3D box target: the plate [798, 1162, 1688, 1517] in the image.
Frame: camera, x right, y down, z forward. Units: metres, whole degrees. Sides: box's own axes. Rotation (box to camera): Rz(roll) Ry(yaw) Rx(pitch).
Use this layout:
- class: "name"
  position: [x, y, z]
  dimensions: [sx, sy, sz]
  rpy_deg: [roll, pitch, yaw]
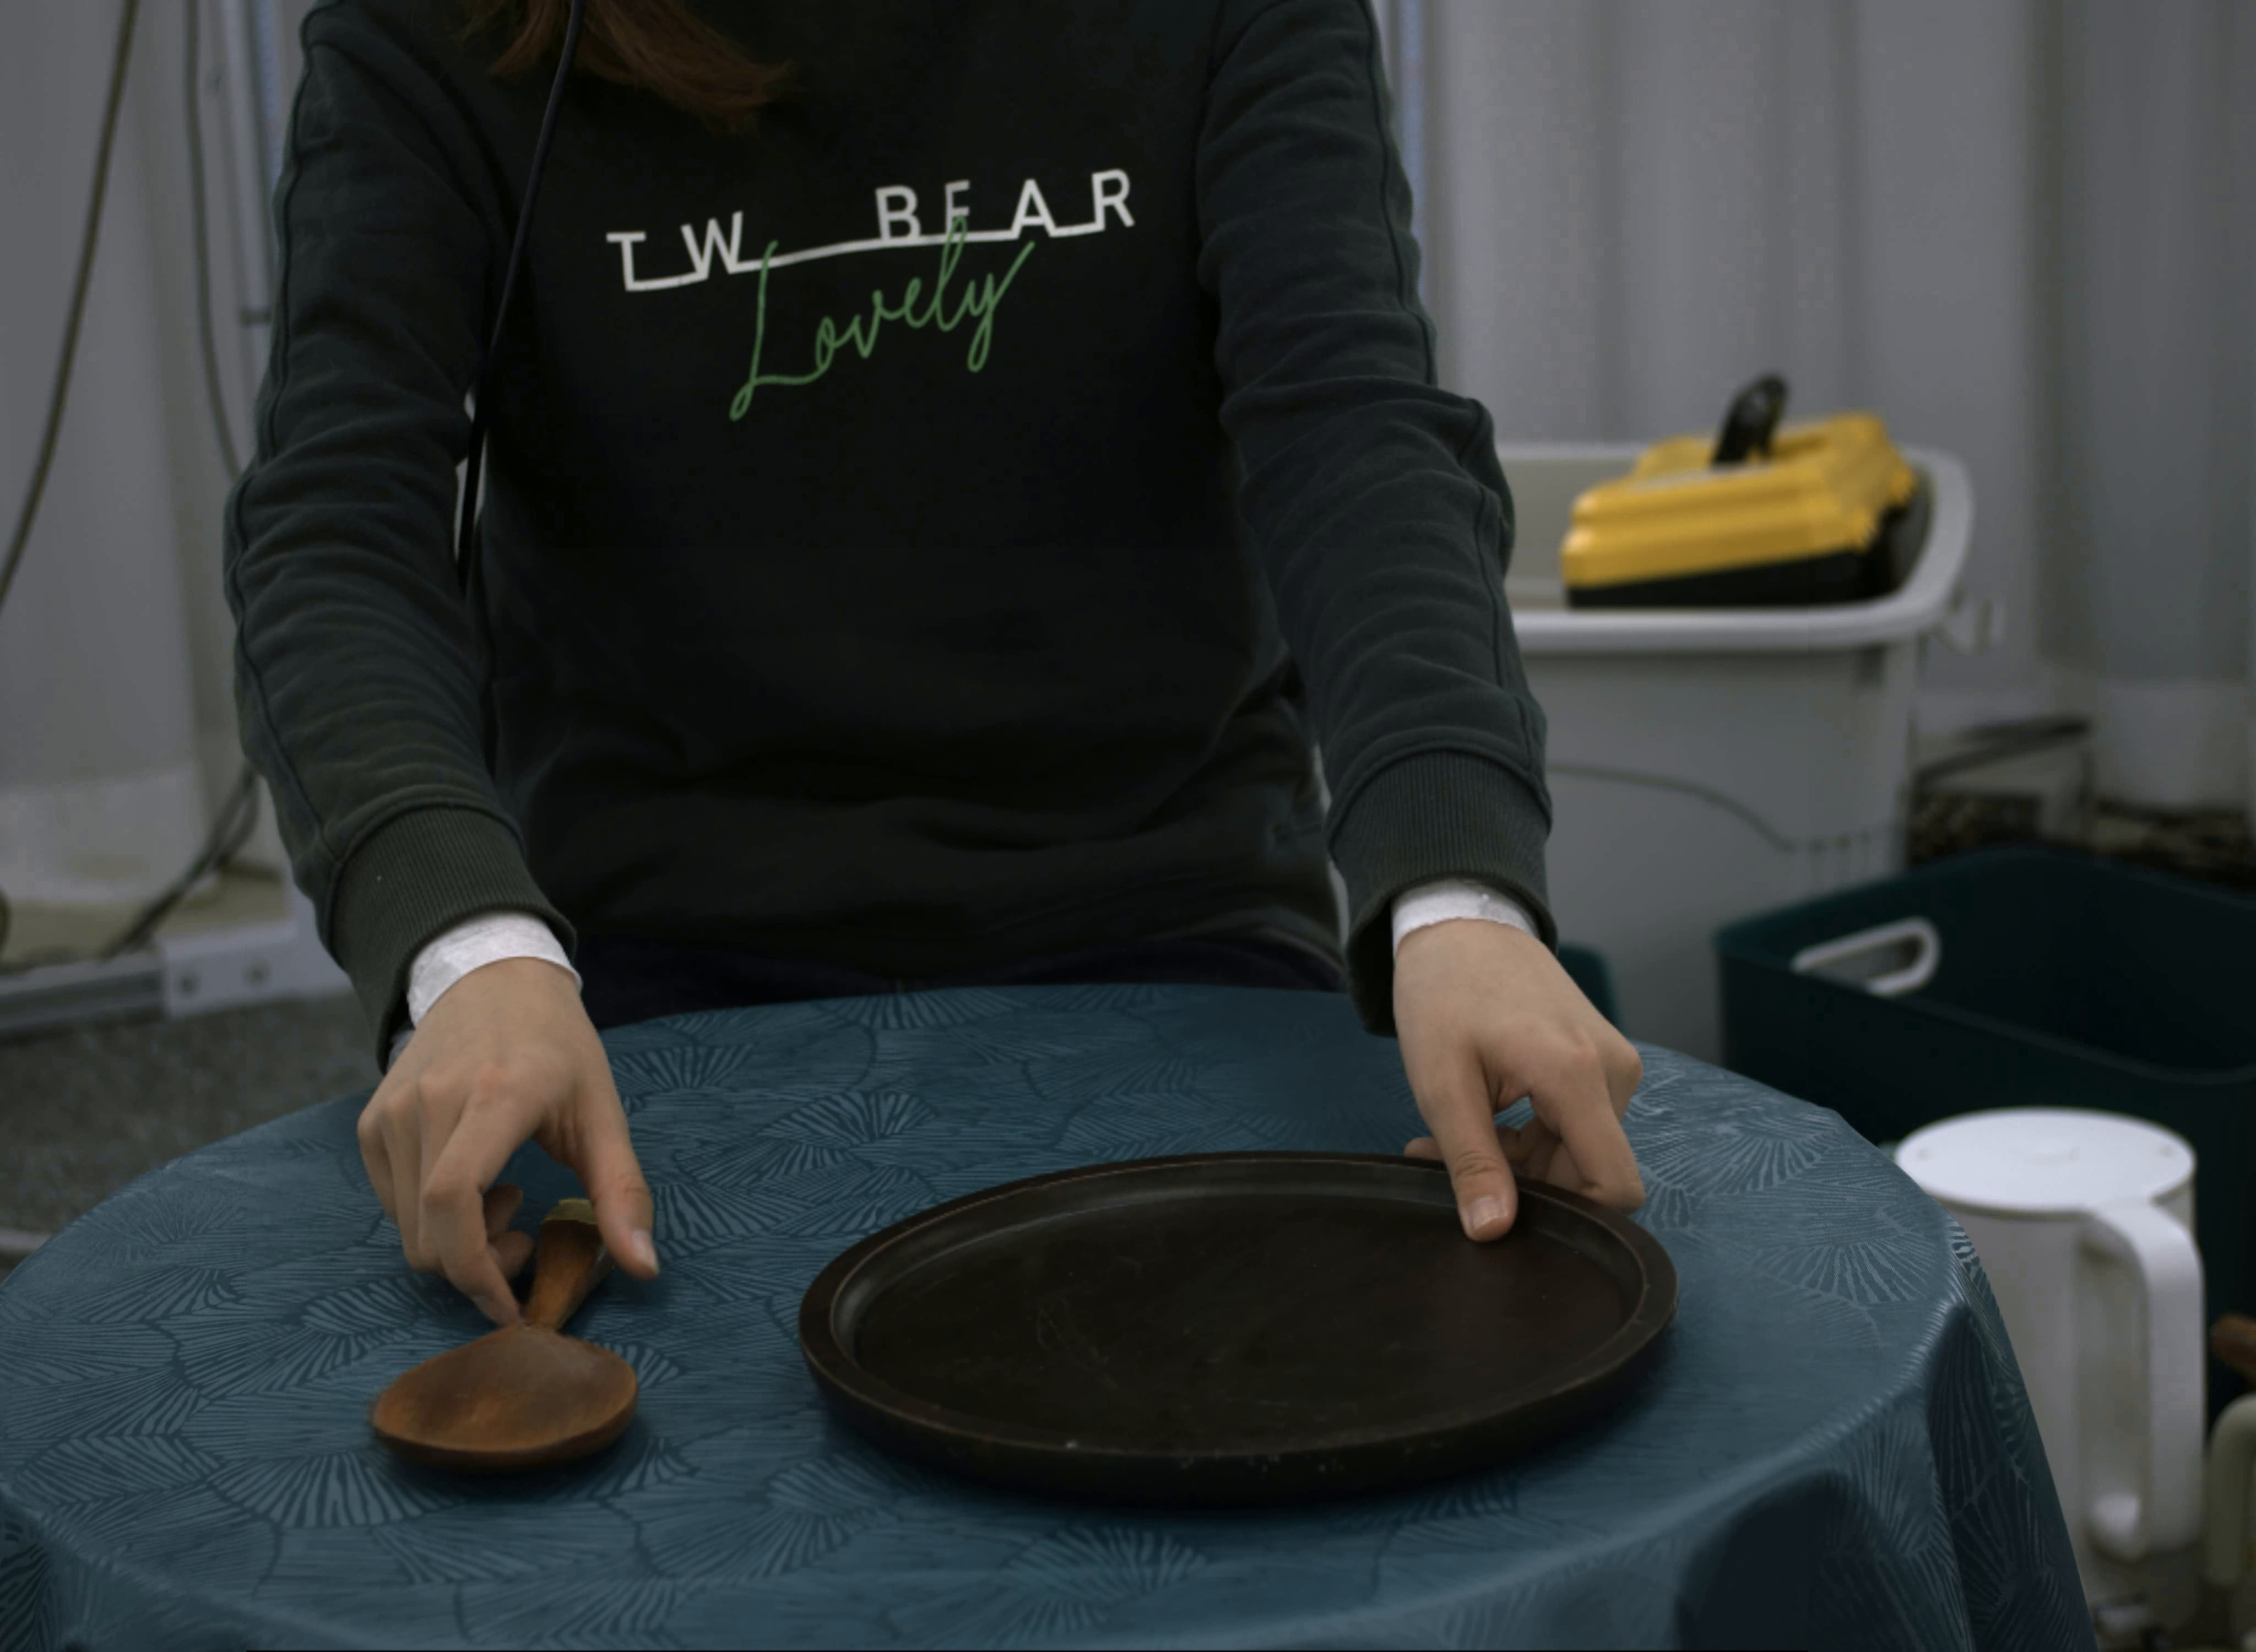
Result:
- class: "plate"
  position: [0.032, 0.143, 1.560]
  dimensions: [0.254, 0.029, 0.256]
  rpy_deg: [-2, 16, 0]

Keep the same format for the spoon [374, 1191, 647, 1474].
- class: "spoon"
  position: [-0.170, 0.148, 1.587]
  dimensions: [0.075, 0.017, 0.217]
  rpy_deg: [-2, 15, 2]
